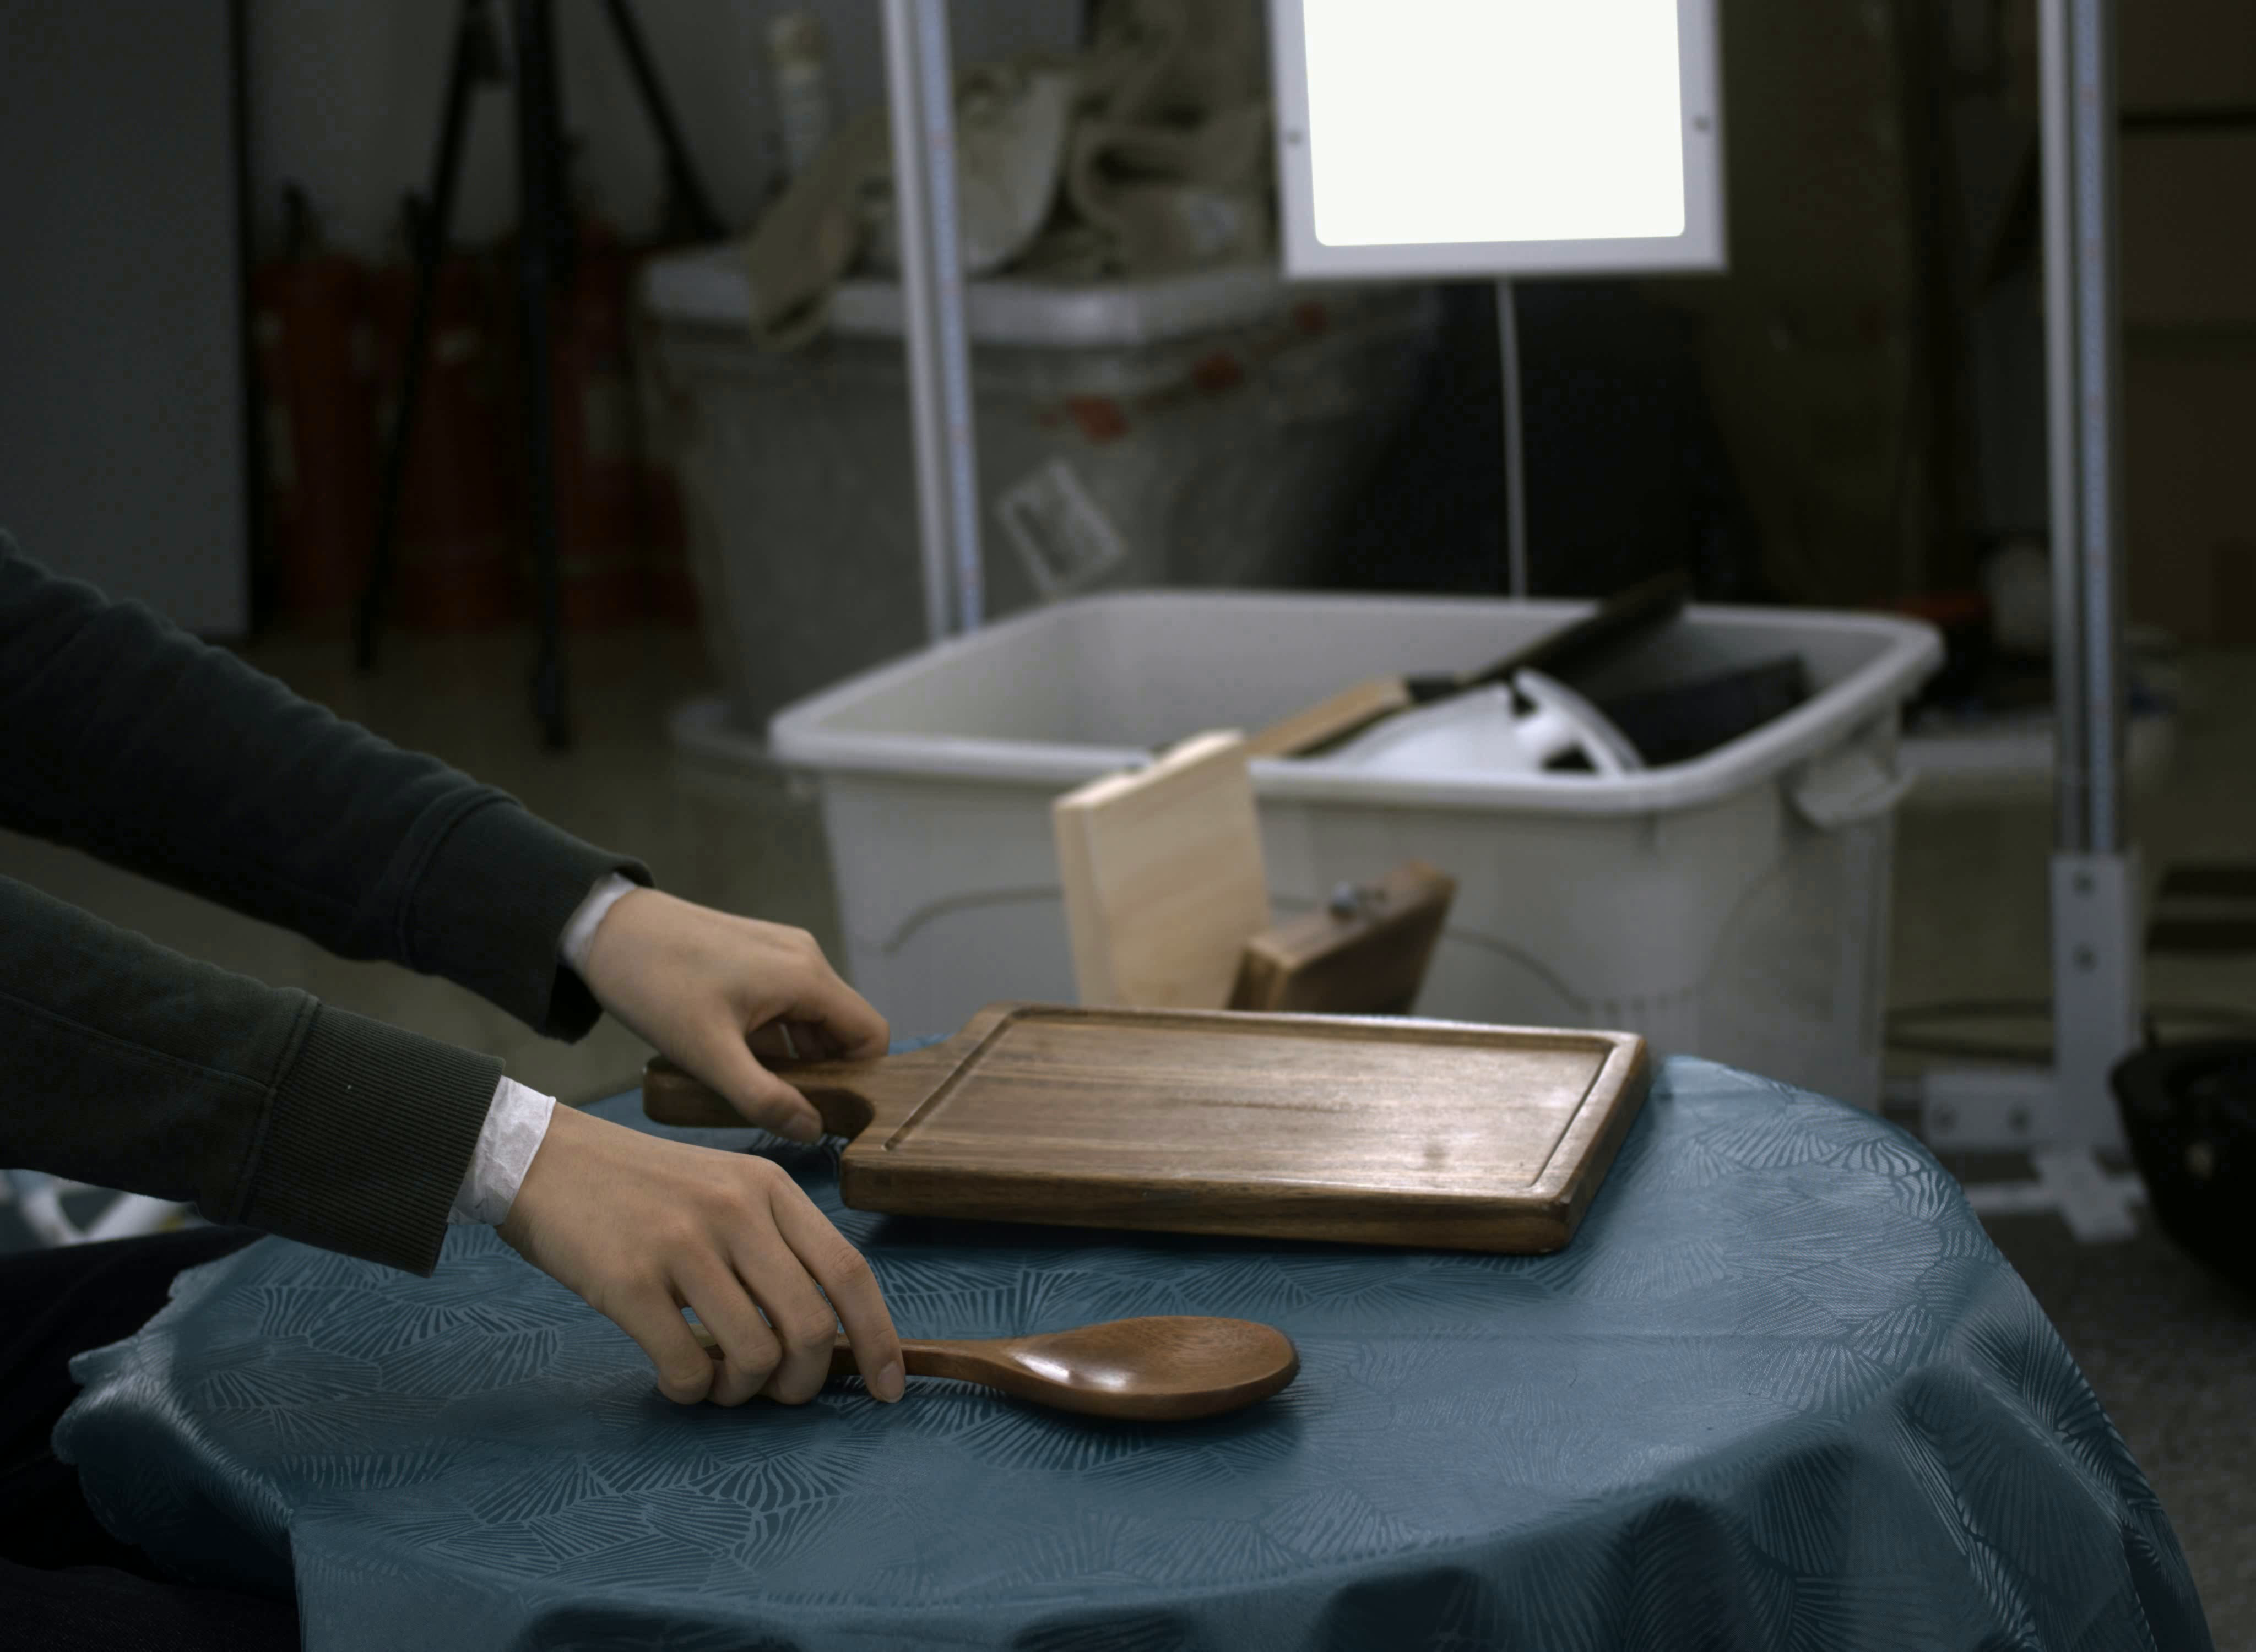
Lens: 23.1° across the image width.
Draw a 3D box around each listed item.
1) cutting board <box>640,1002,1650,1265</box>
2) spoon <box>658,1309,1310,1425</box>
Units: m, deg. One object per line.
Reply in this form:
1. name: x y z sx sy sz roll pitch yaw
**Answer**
1. cutting board: -0.002 0.102 1.926 0.356 0.023 0.198 2 16 16
2. spoon: -0.047 0.166 1.713 0.219 0.017 0.074 2 17 23
